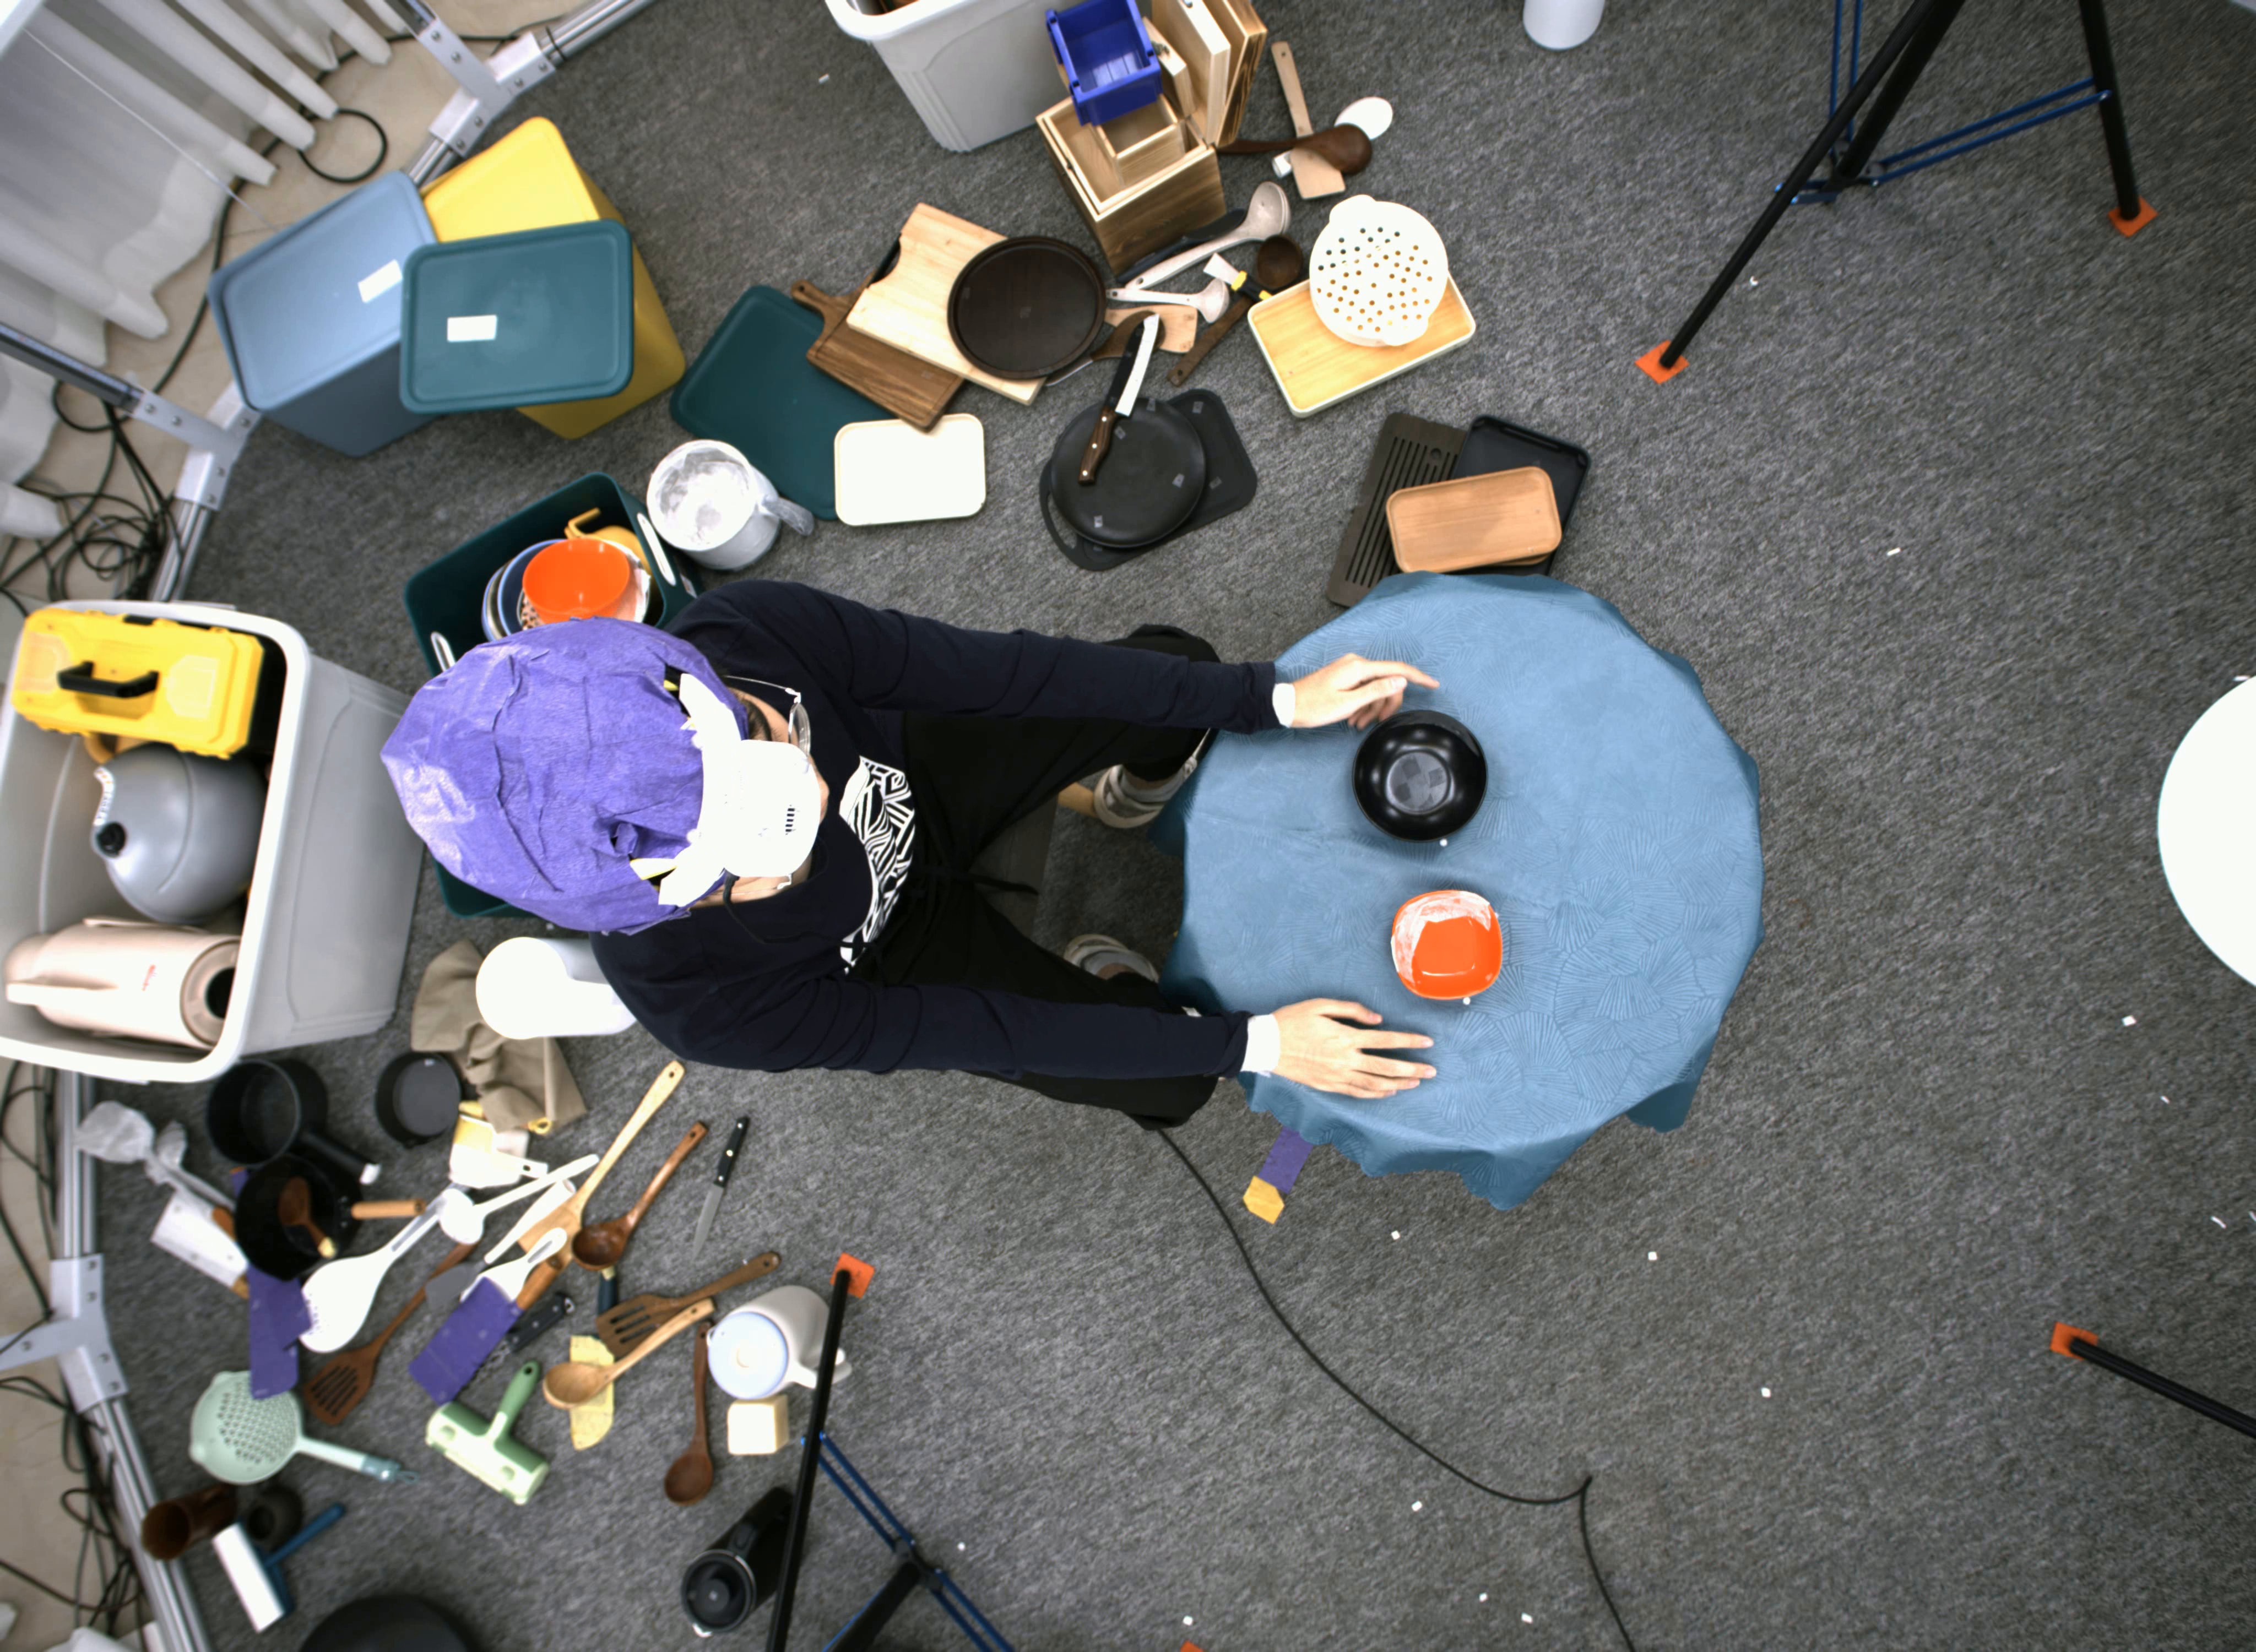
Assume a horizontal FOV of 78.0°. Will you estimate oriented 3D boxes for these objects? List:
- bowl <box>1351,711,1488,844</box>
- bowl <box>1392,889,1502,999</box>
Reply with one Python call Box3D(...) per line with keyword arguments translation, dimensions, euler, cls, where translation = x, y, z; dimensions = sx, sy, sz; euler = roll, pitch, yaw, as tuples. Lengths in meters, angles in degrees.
Box3D(translation=(0.304, -0.050, 1.438), dimensions=(0.141, 0.050, 0.139), euler=(-1, 86, 15), cls="bowl")
Box3D(translation=(0.326, 0.120, 1.420), dimensions=(0.119, 0.051, 0.118), euler=(-1, 87, 9), cls="bowl")
